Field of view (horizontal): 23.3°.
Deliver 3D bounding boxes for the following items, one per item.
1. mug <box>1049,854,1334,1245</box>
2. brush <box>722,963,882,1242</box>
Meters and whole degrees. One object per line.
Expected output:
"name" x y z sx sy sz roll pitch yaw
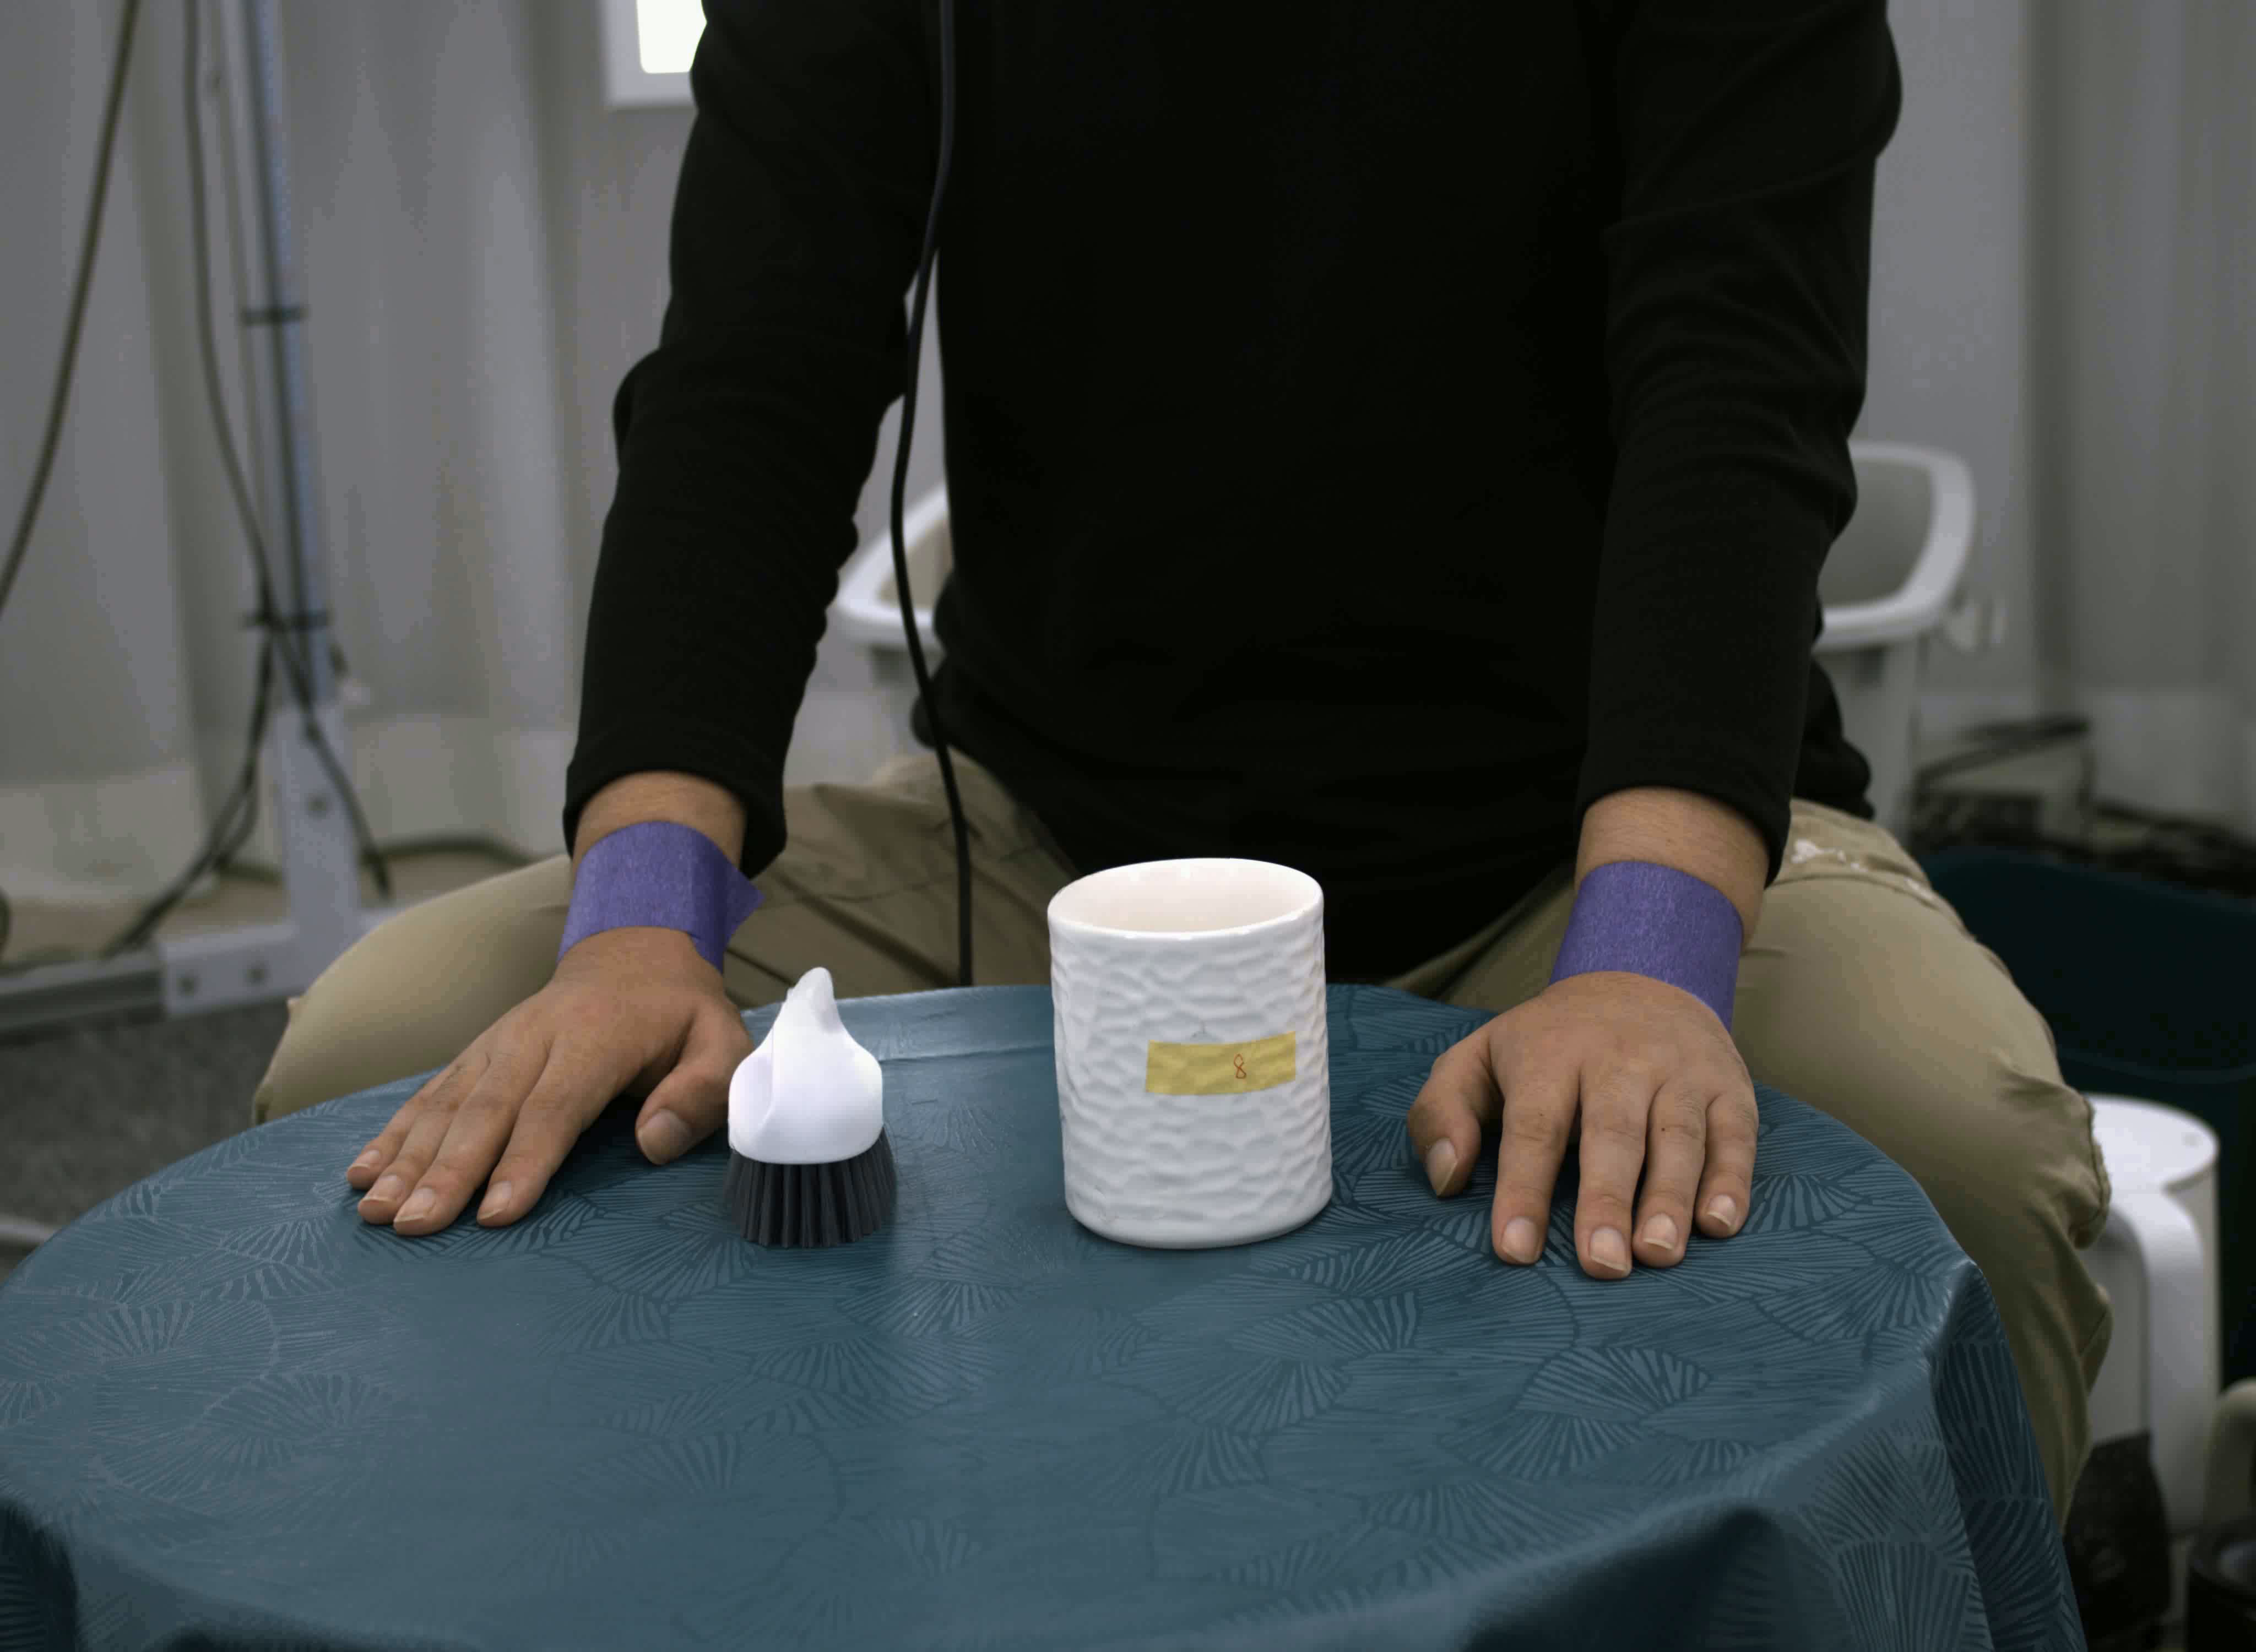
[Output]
"mug" 0.022 0.065 1.699 0.085 0.101 0.119 -1 14 8
"brush" -0.103 0.082 1.717 0.050 0.072 0.100 -1 15 0
